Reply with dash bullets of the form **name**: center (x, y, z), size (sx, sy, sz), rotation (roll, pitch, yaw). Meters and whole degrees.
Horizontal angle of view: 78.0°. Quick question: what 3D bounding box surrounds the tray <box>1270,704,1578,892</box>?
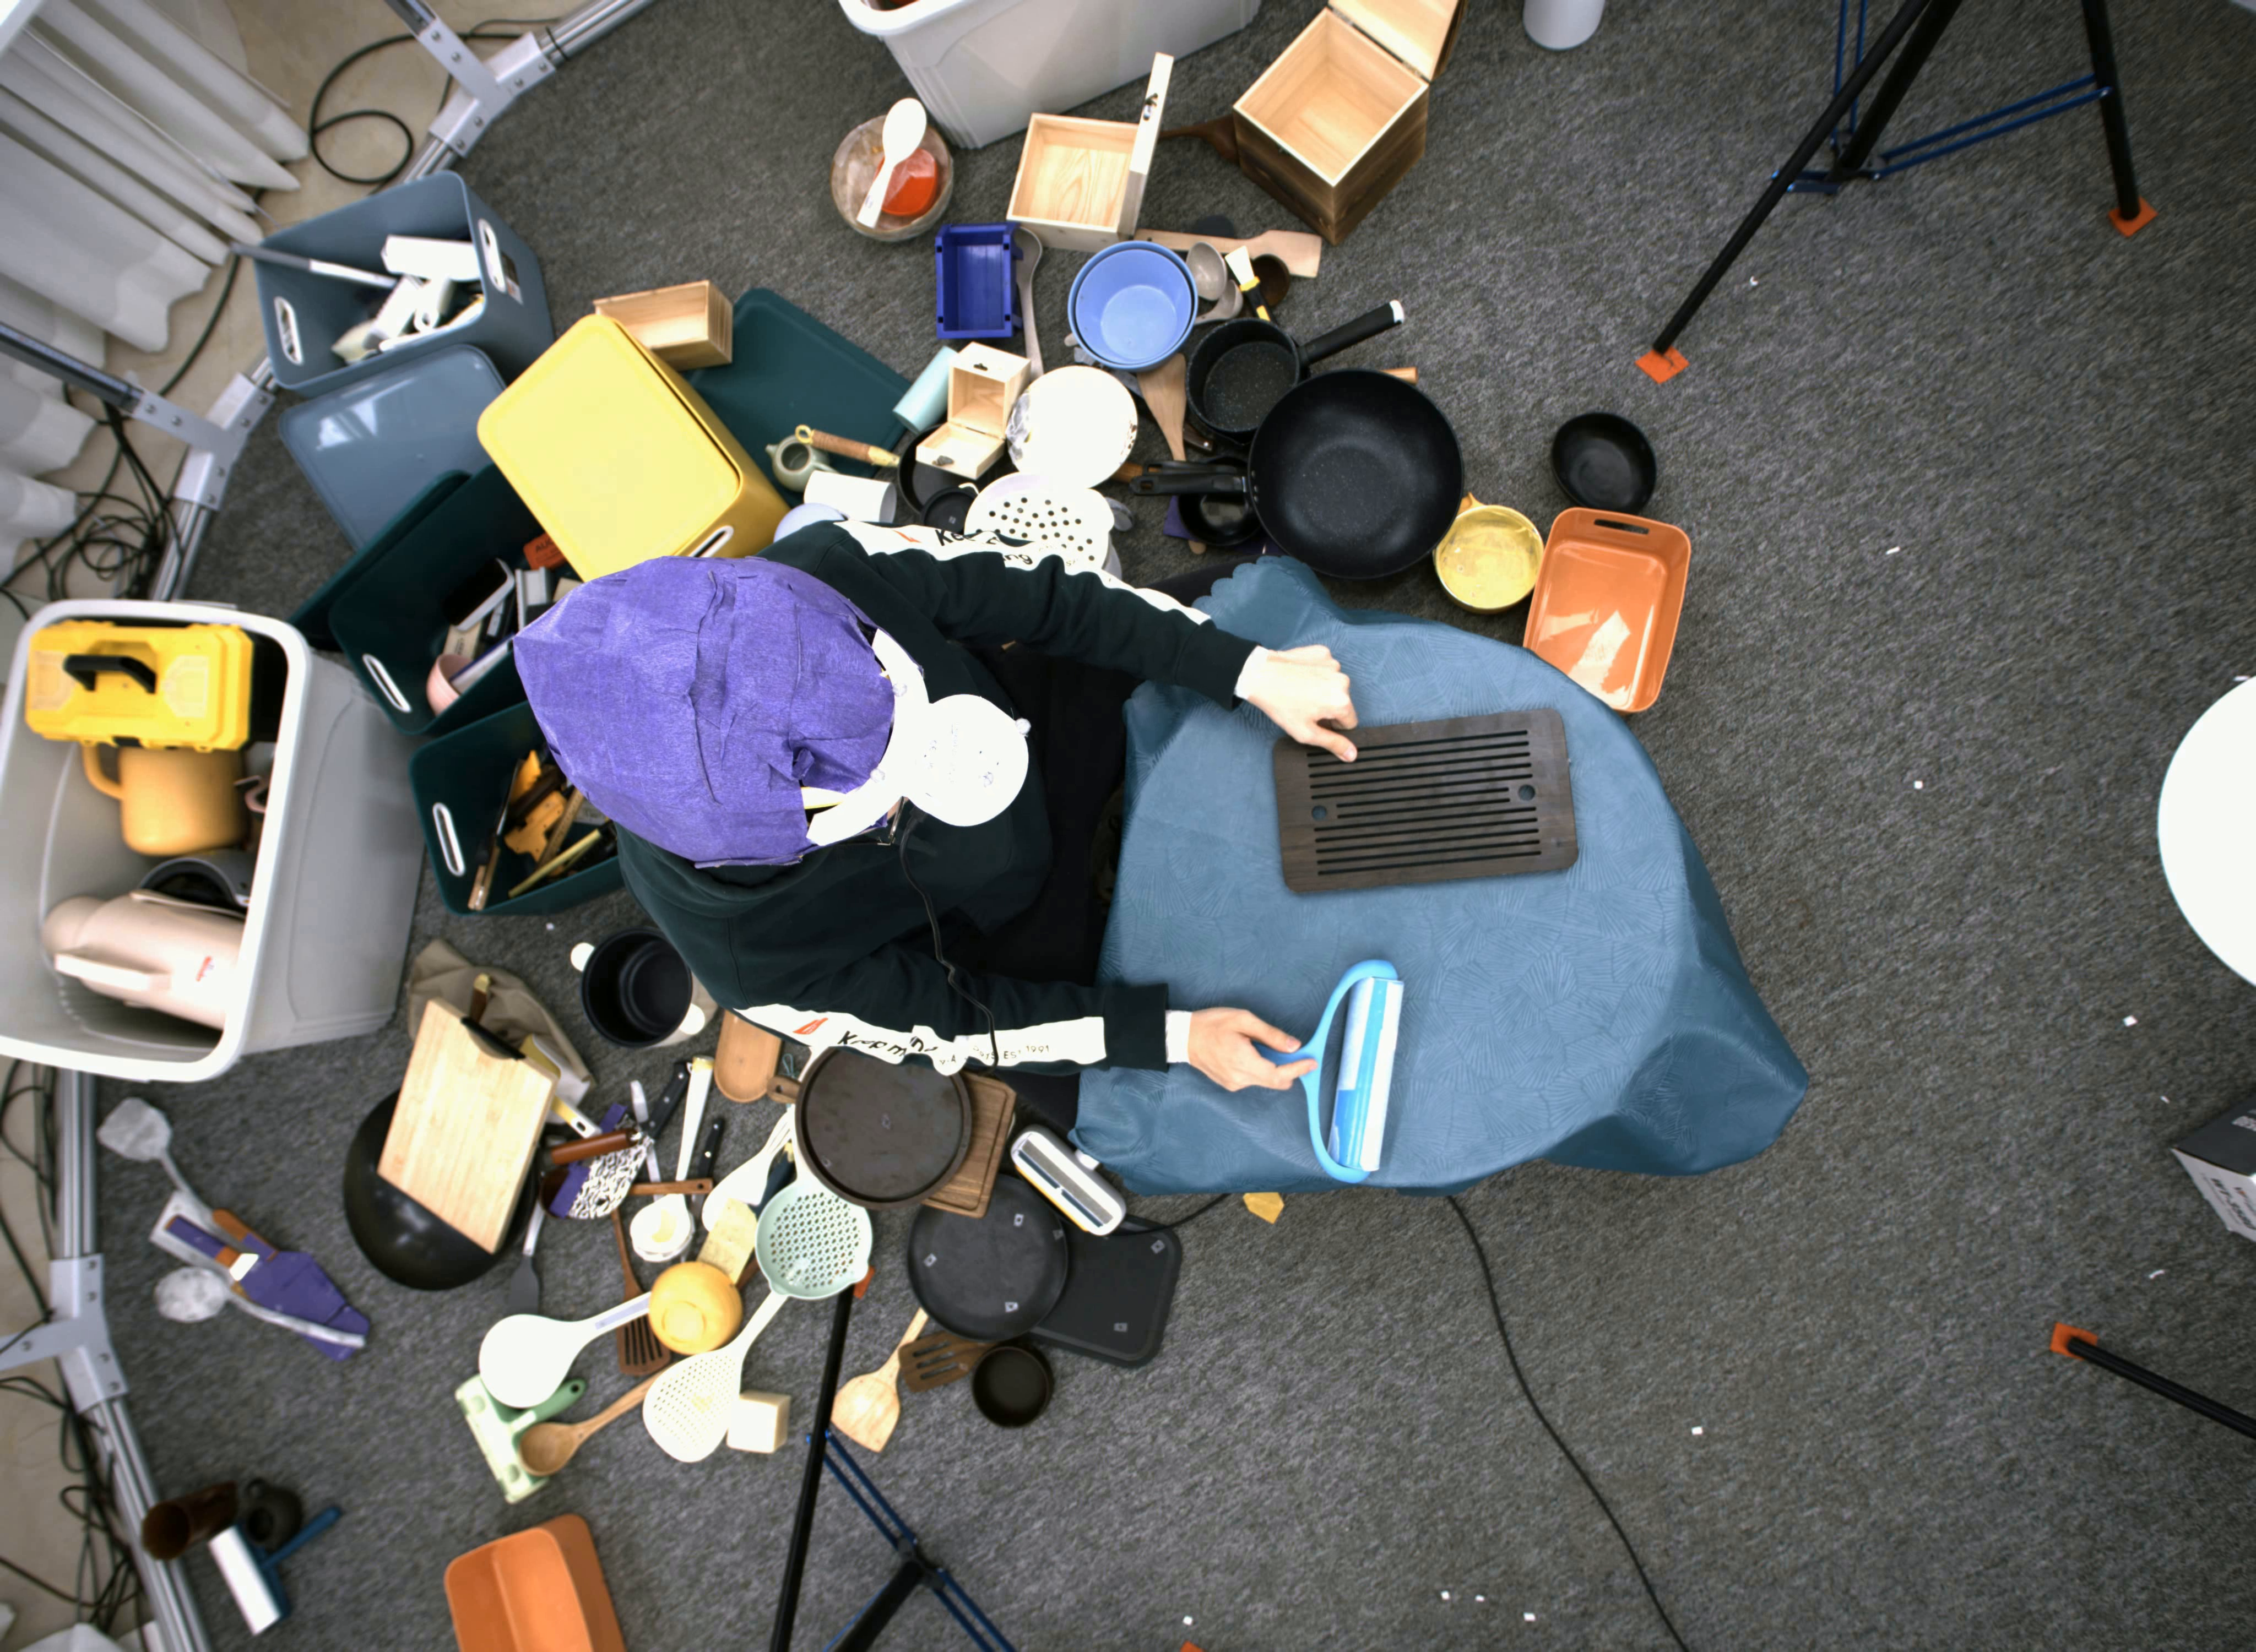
- **tray**: center (0.308, -0.030, 1.444), size (0.307, 0.018, 0.169), rotation (-6, 86, 10)

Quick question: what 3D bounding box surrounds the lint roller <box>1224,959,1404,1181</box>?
- **lint roller**: center (0.187, 0.244, 1.432), size (0.181, 0.068, 0.228), rotation (5, 90, 9)
